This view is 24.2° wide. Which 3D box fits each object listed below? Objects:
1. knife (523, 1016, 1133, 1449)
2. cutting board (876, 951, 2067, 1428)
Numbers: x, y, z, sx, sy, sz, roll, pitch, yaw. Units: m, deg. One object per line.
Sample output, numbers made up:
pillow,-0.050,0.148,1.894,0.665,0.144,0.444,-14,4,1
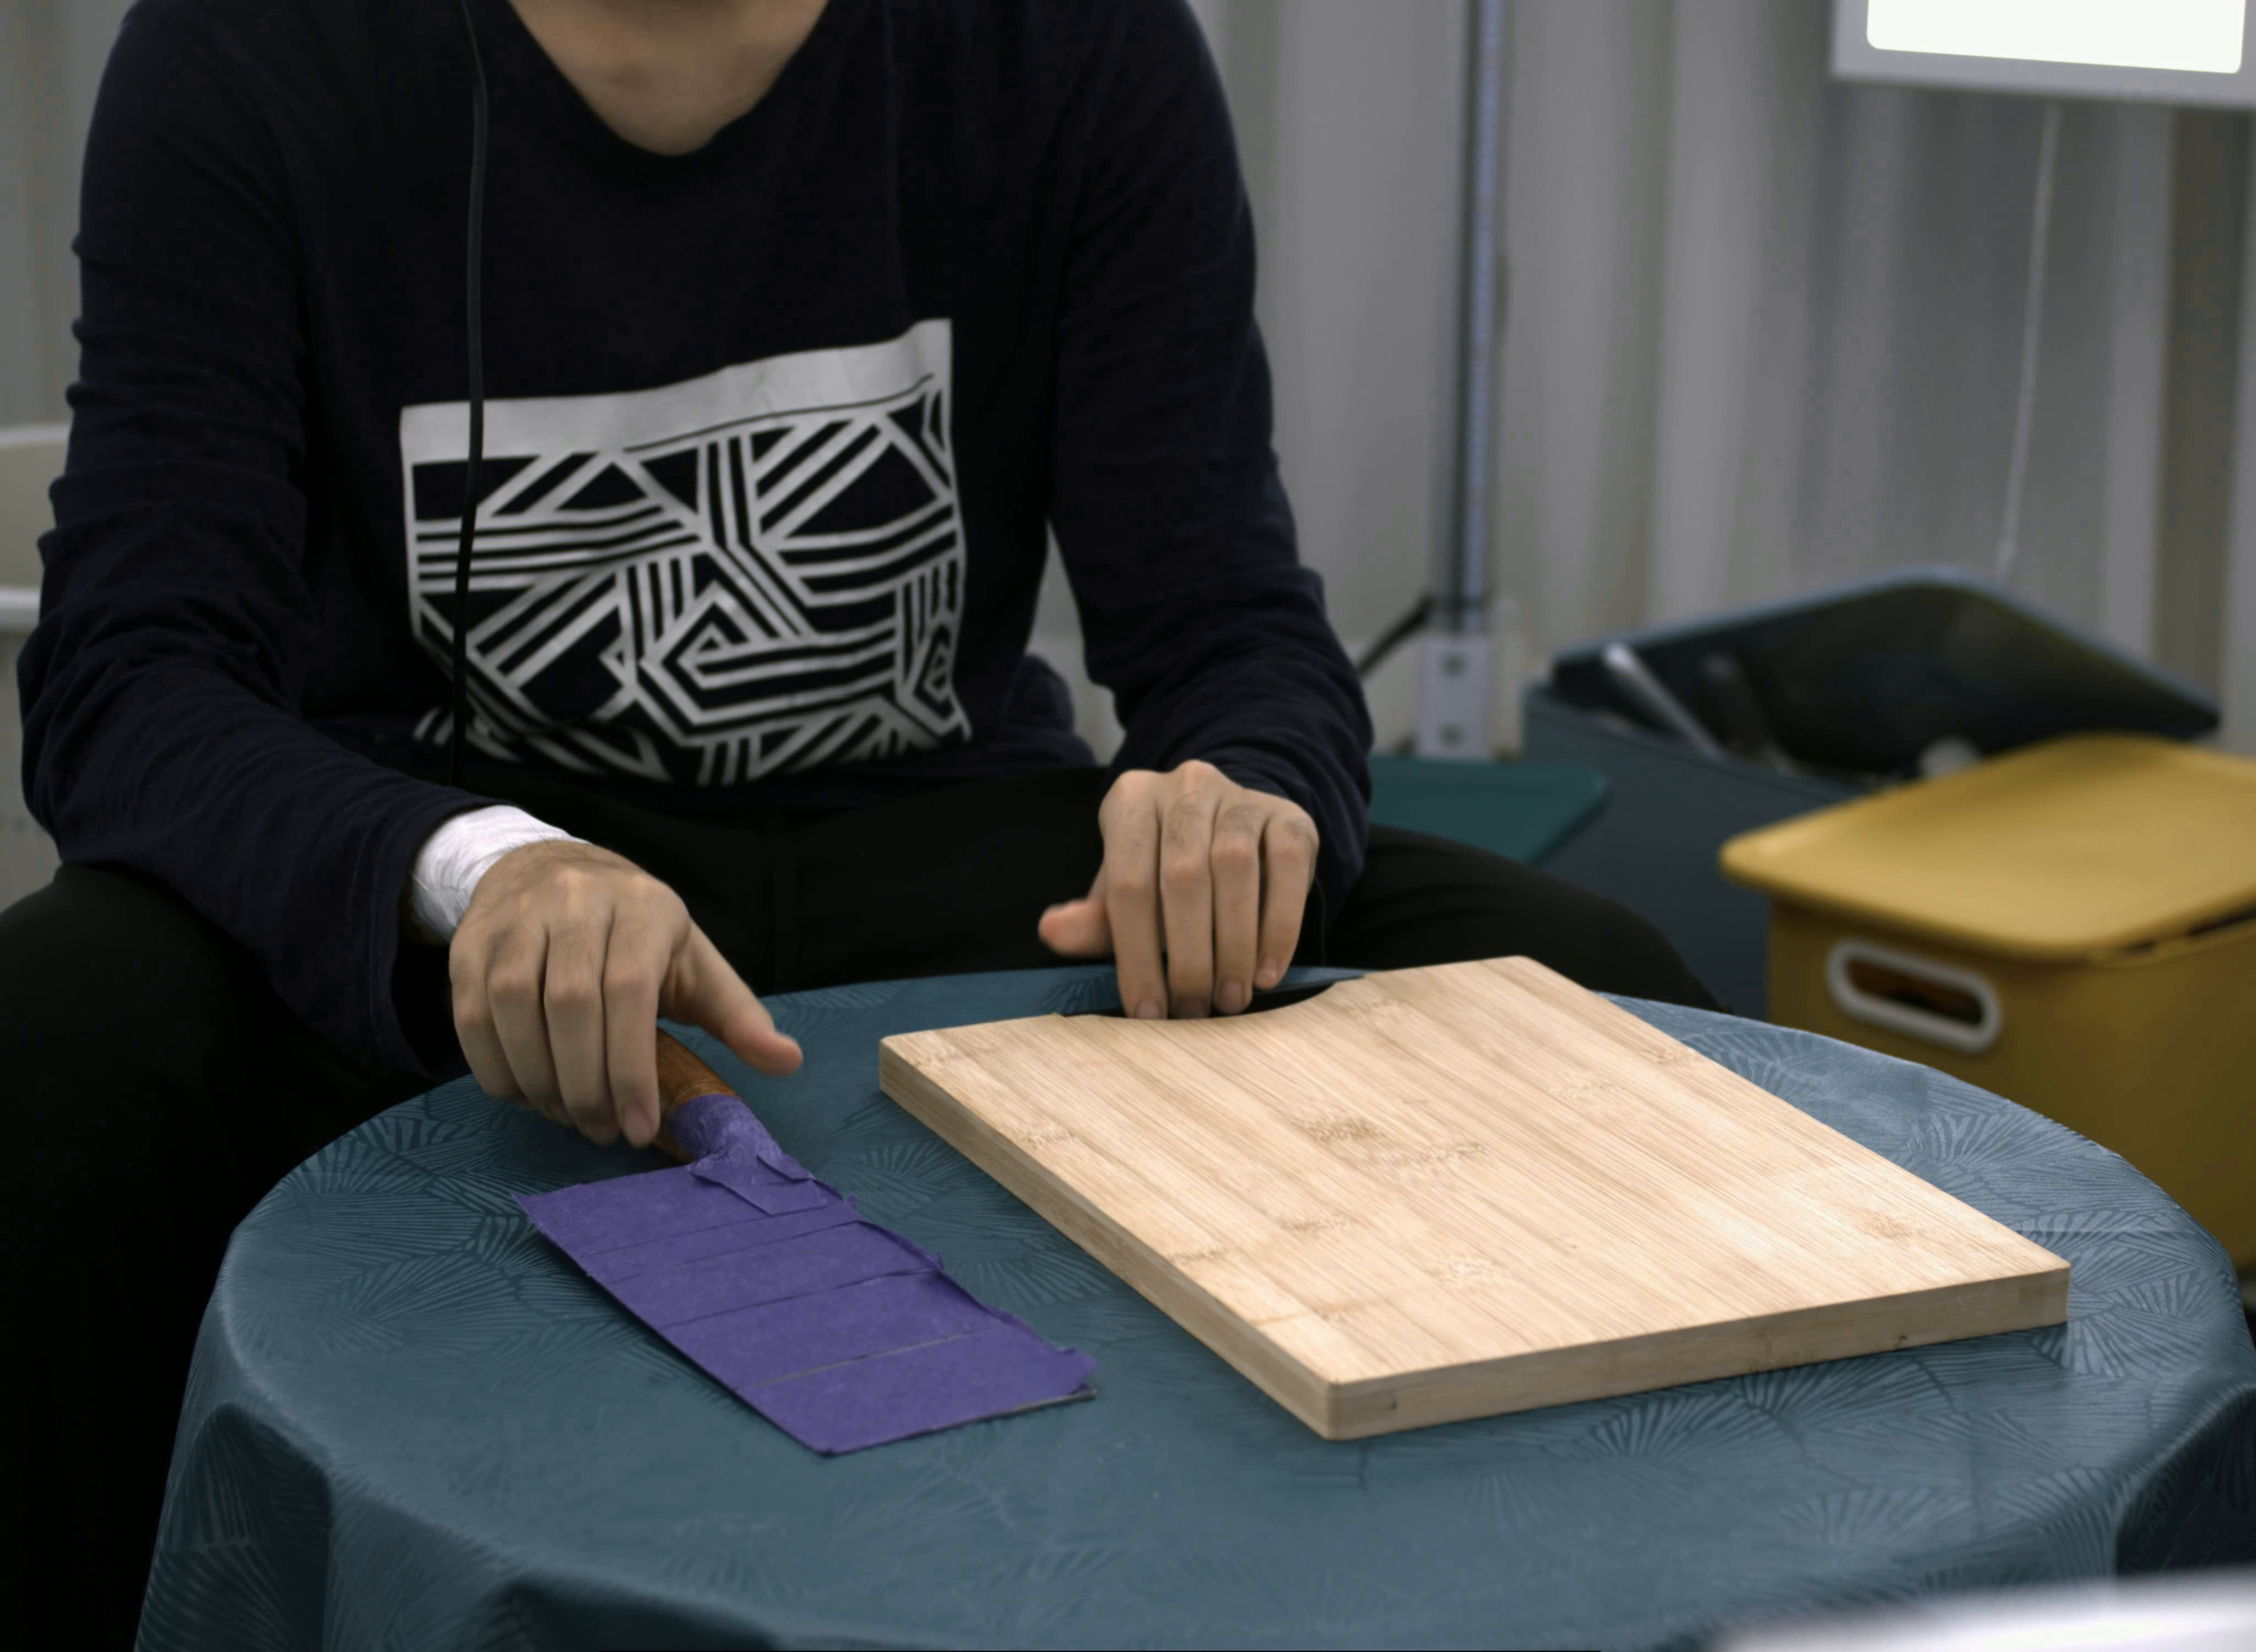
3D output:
knife,-0.120,0.116,1.556,0.104,0.032,0.311,-9,18,-30
cutting board,0.094,0.105,1.624,0.251,0.024,0.344,-6,17,-24
